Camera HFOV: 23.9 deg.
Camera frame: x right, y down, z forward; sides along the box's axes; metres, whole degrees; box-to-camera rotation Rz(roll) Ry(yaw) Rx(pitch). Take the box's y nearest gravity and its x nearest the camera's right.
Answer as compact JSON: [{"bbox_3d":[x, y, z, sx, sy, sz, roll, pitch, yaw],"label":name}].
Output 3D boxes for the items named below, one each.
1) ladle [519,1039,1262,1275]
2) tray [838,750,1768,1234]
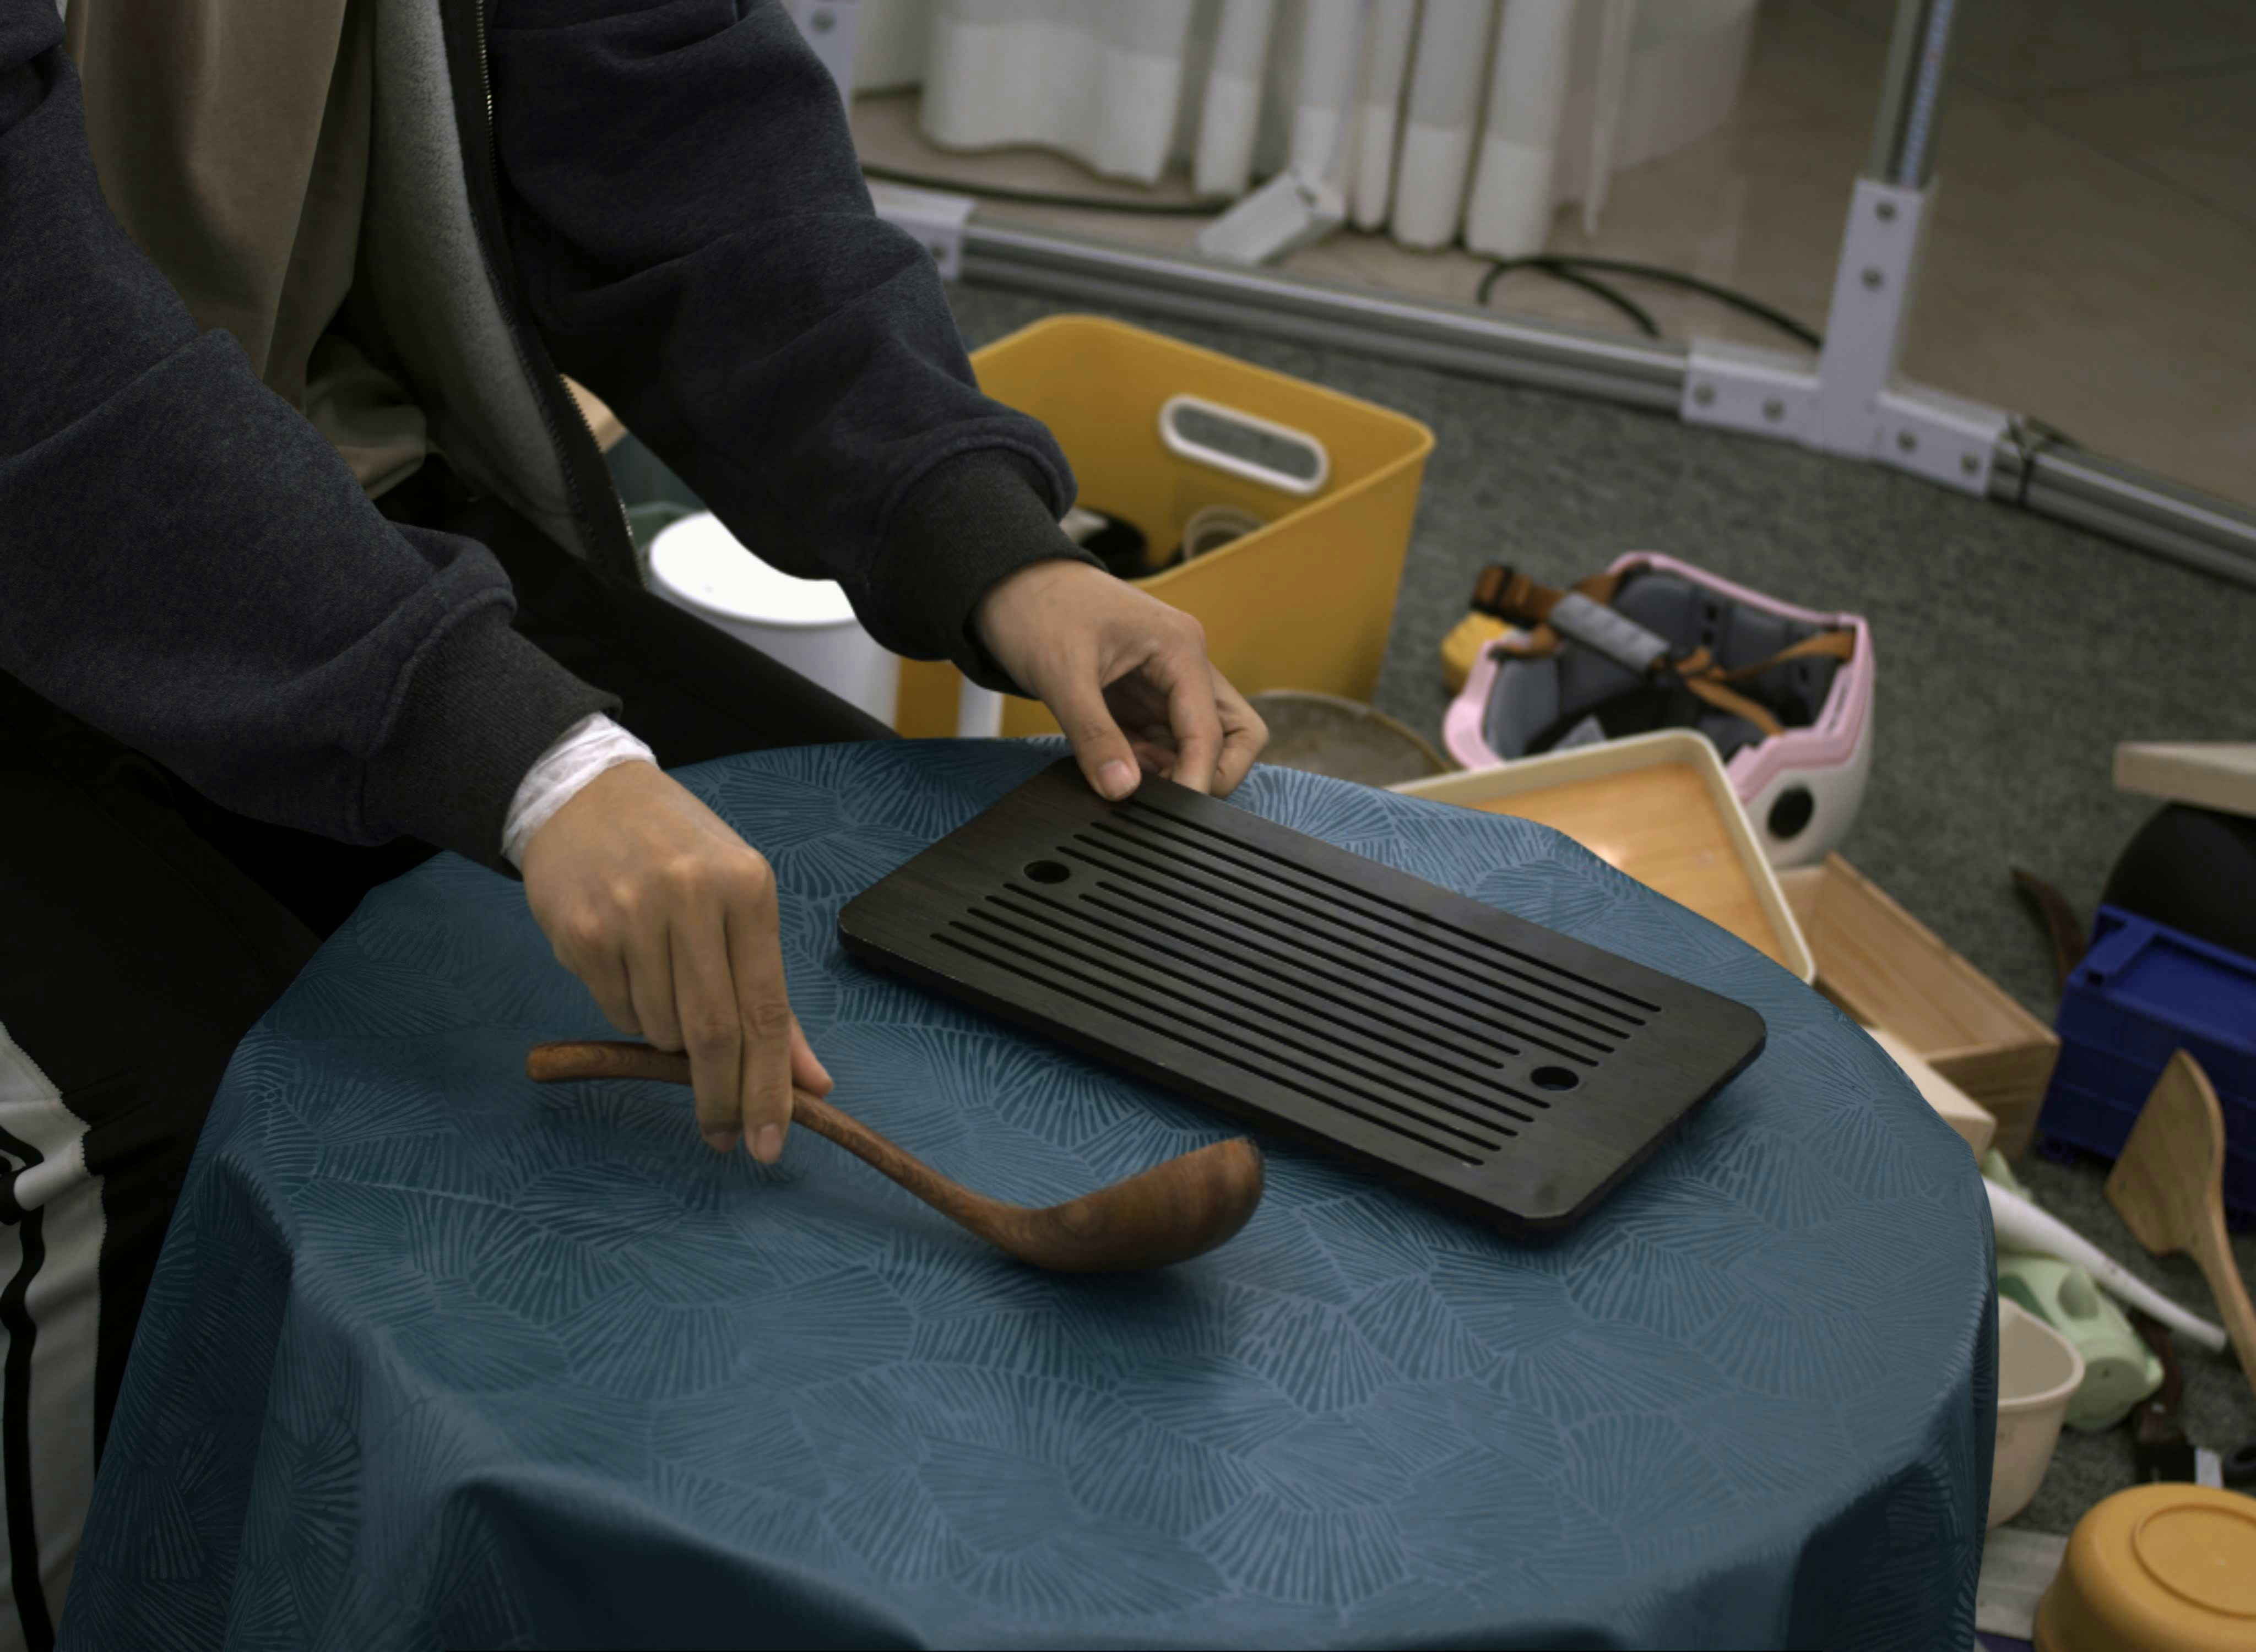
[{"bbox_3d":[-0.080,0.094,1.767,0.261,0.065,0.076,19,-4,19],"label":"ladle"},{"bbox_3d":[0.061,0.057,1.916,0.307,0.018,0.170,22,34,27],"label":"tray"}]
